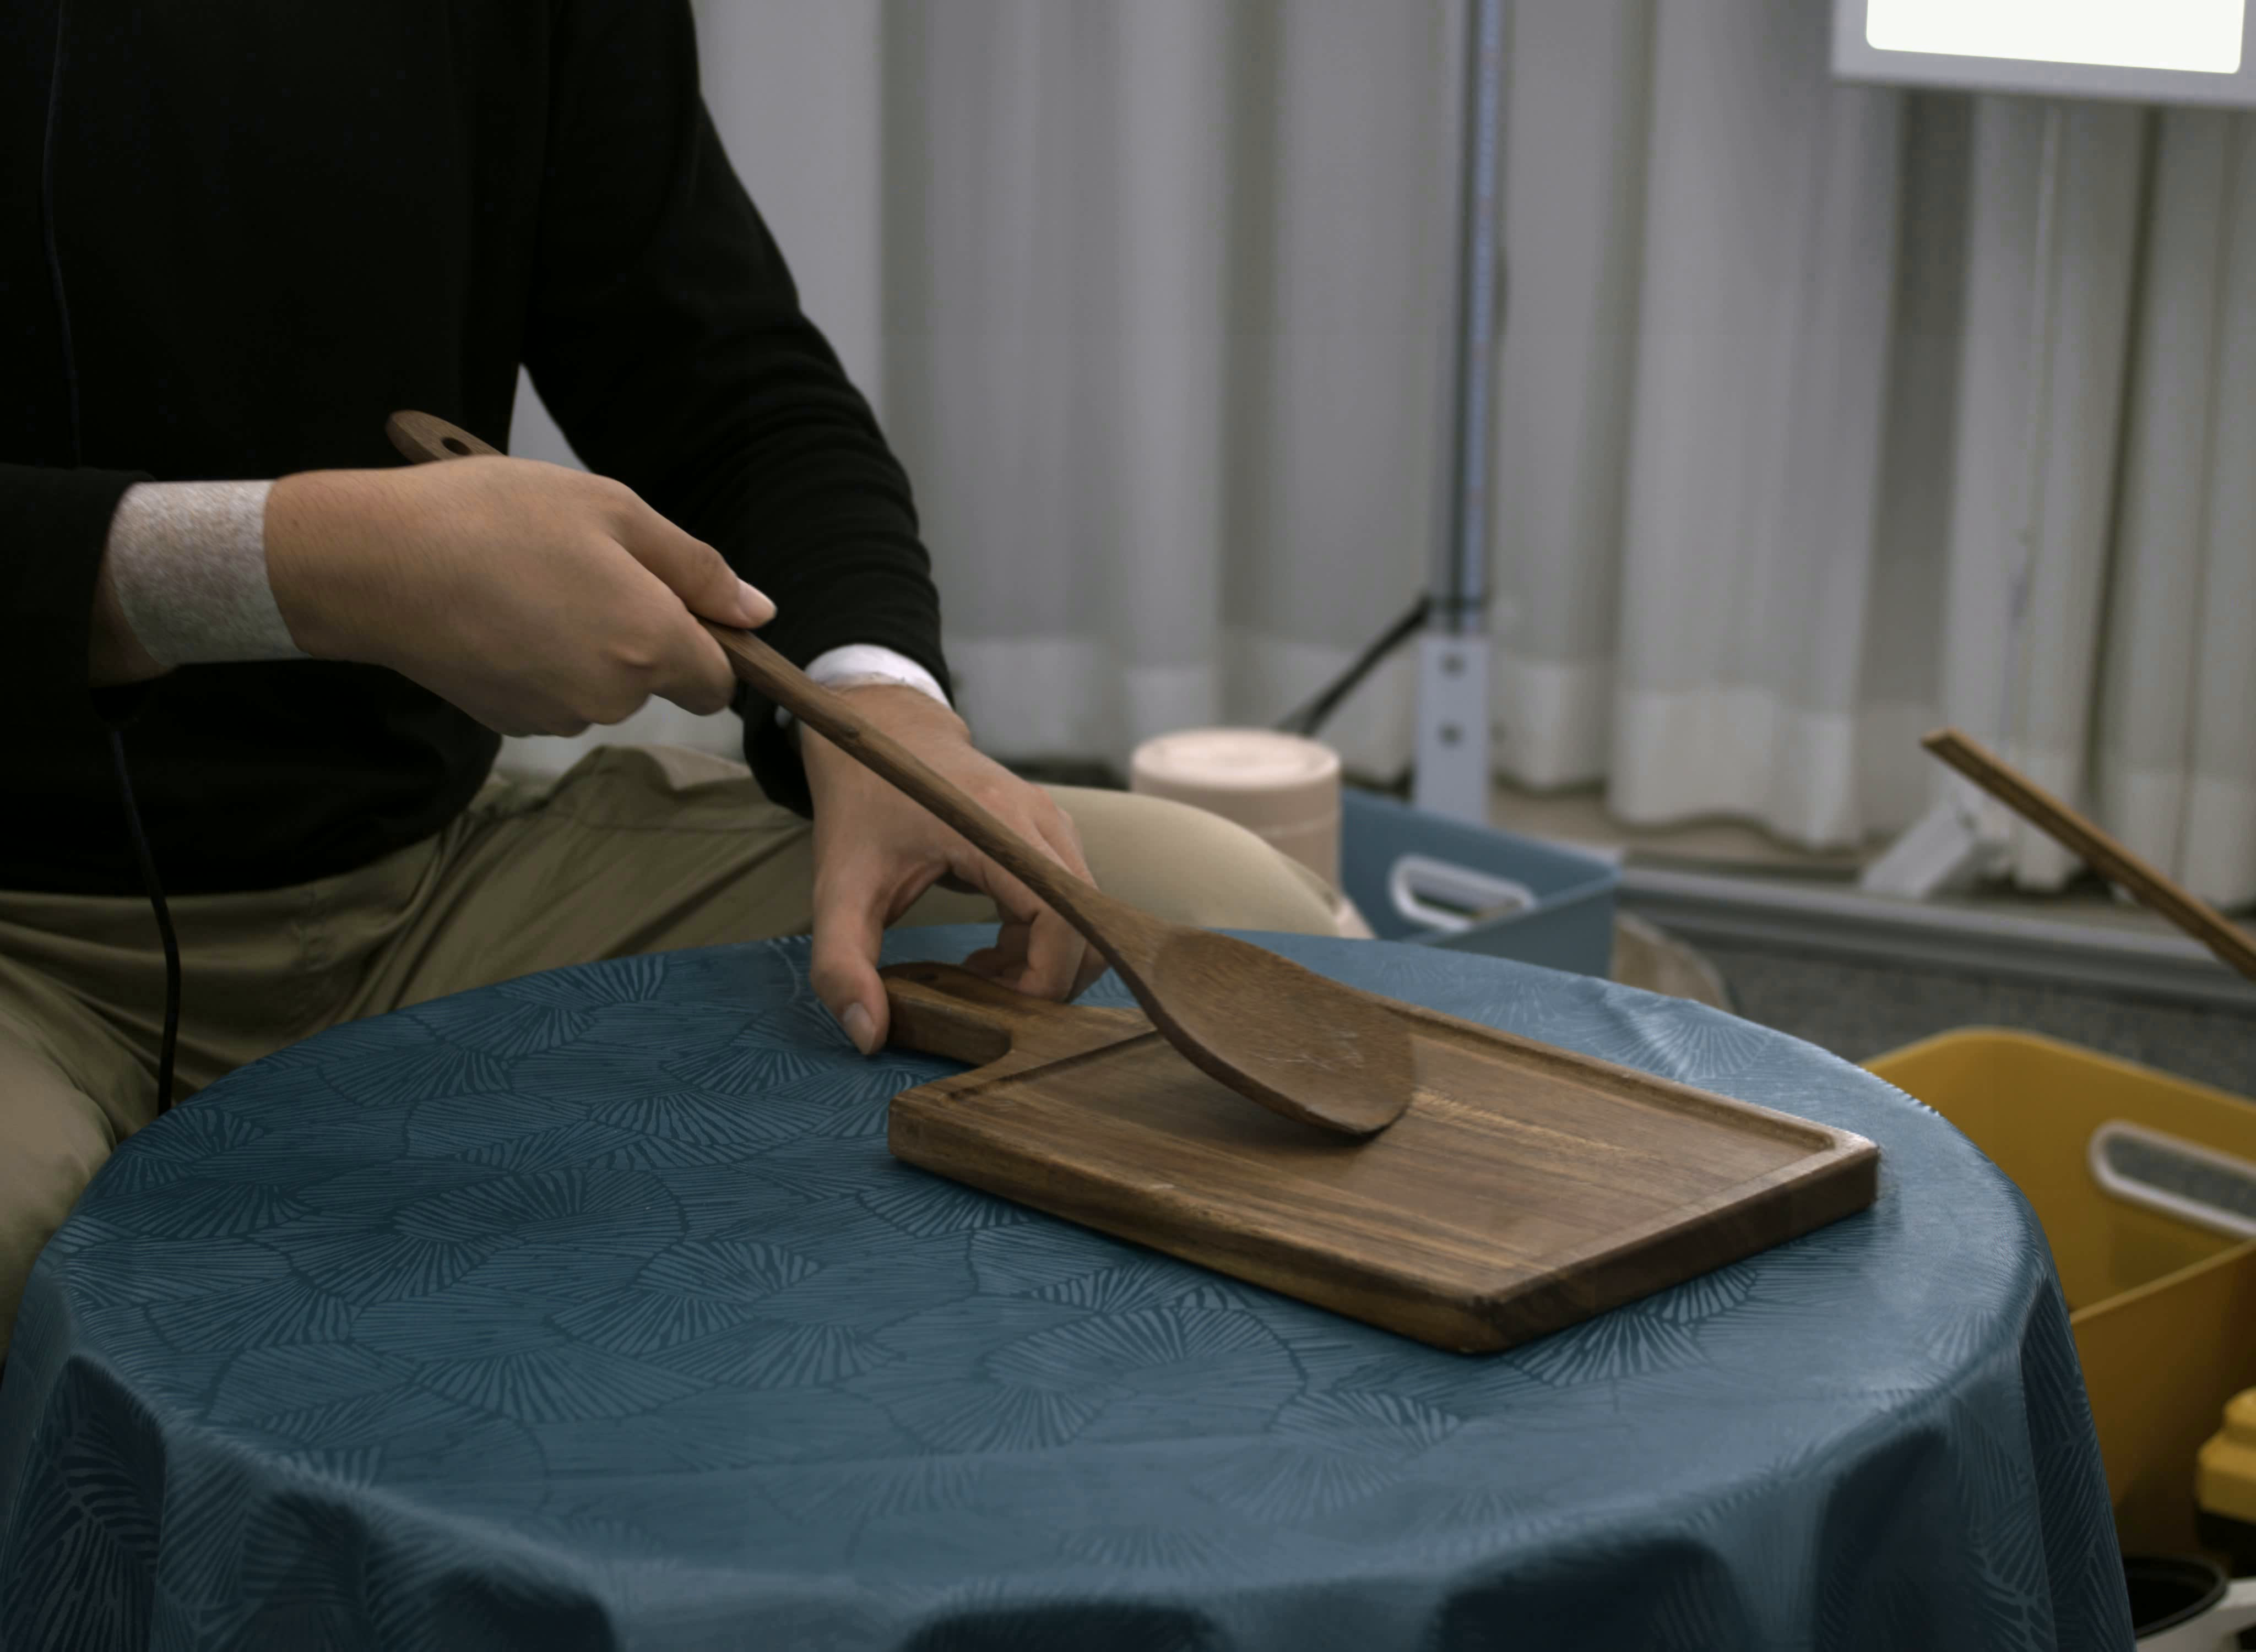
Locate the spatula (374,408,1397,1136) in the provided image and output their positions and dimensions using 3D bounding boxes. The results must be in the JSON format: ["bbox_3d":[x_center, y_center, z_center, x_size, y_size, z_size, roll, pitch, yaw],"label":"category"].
[{"bbox_3d":[-0.076,-0.021,1.649,0.385,0.016,0.096,35,24,-1],"label":"spatula"}]

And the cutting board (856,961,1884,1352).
[{"bbox_3d":[0.043,0.089,1.660,0.347,0.023,0.202,15,21,41],"label":"cutting board"}]
